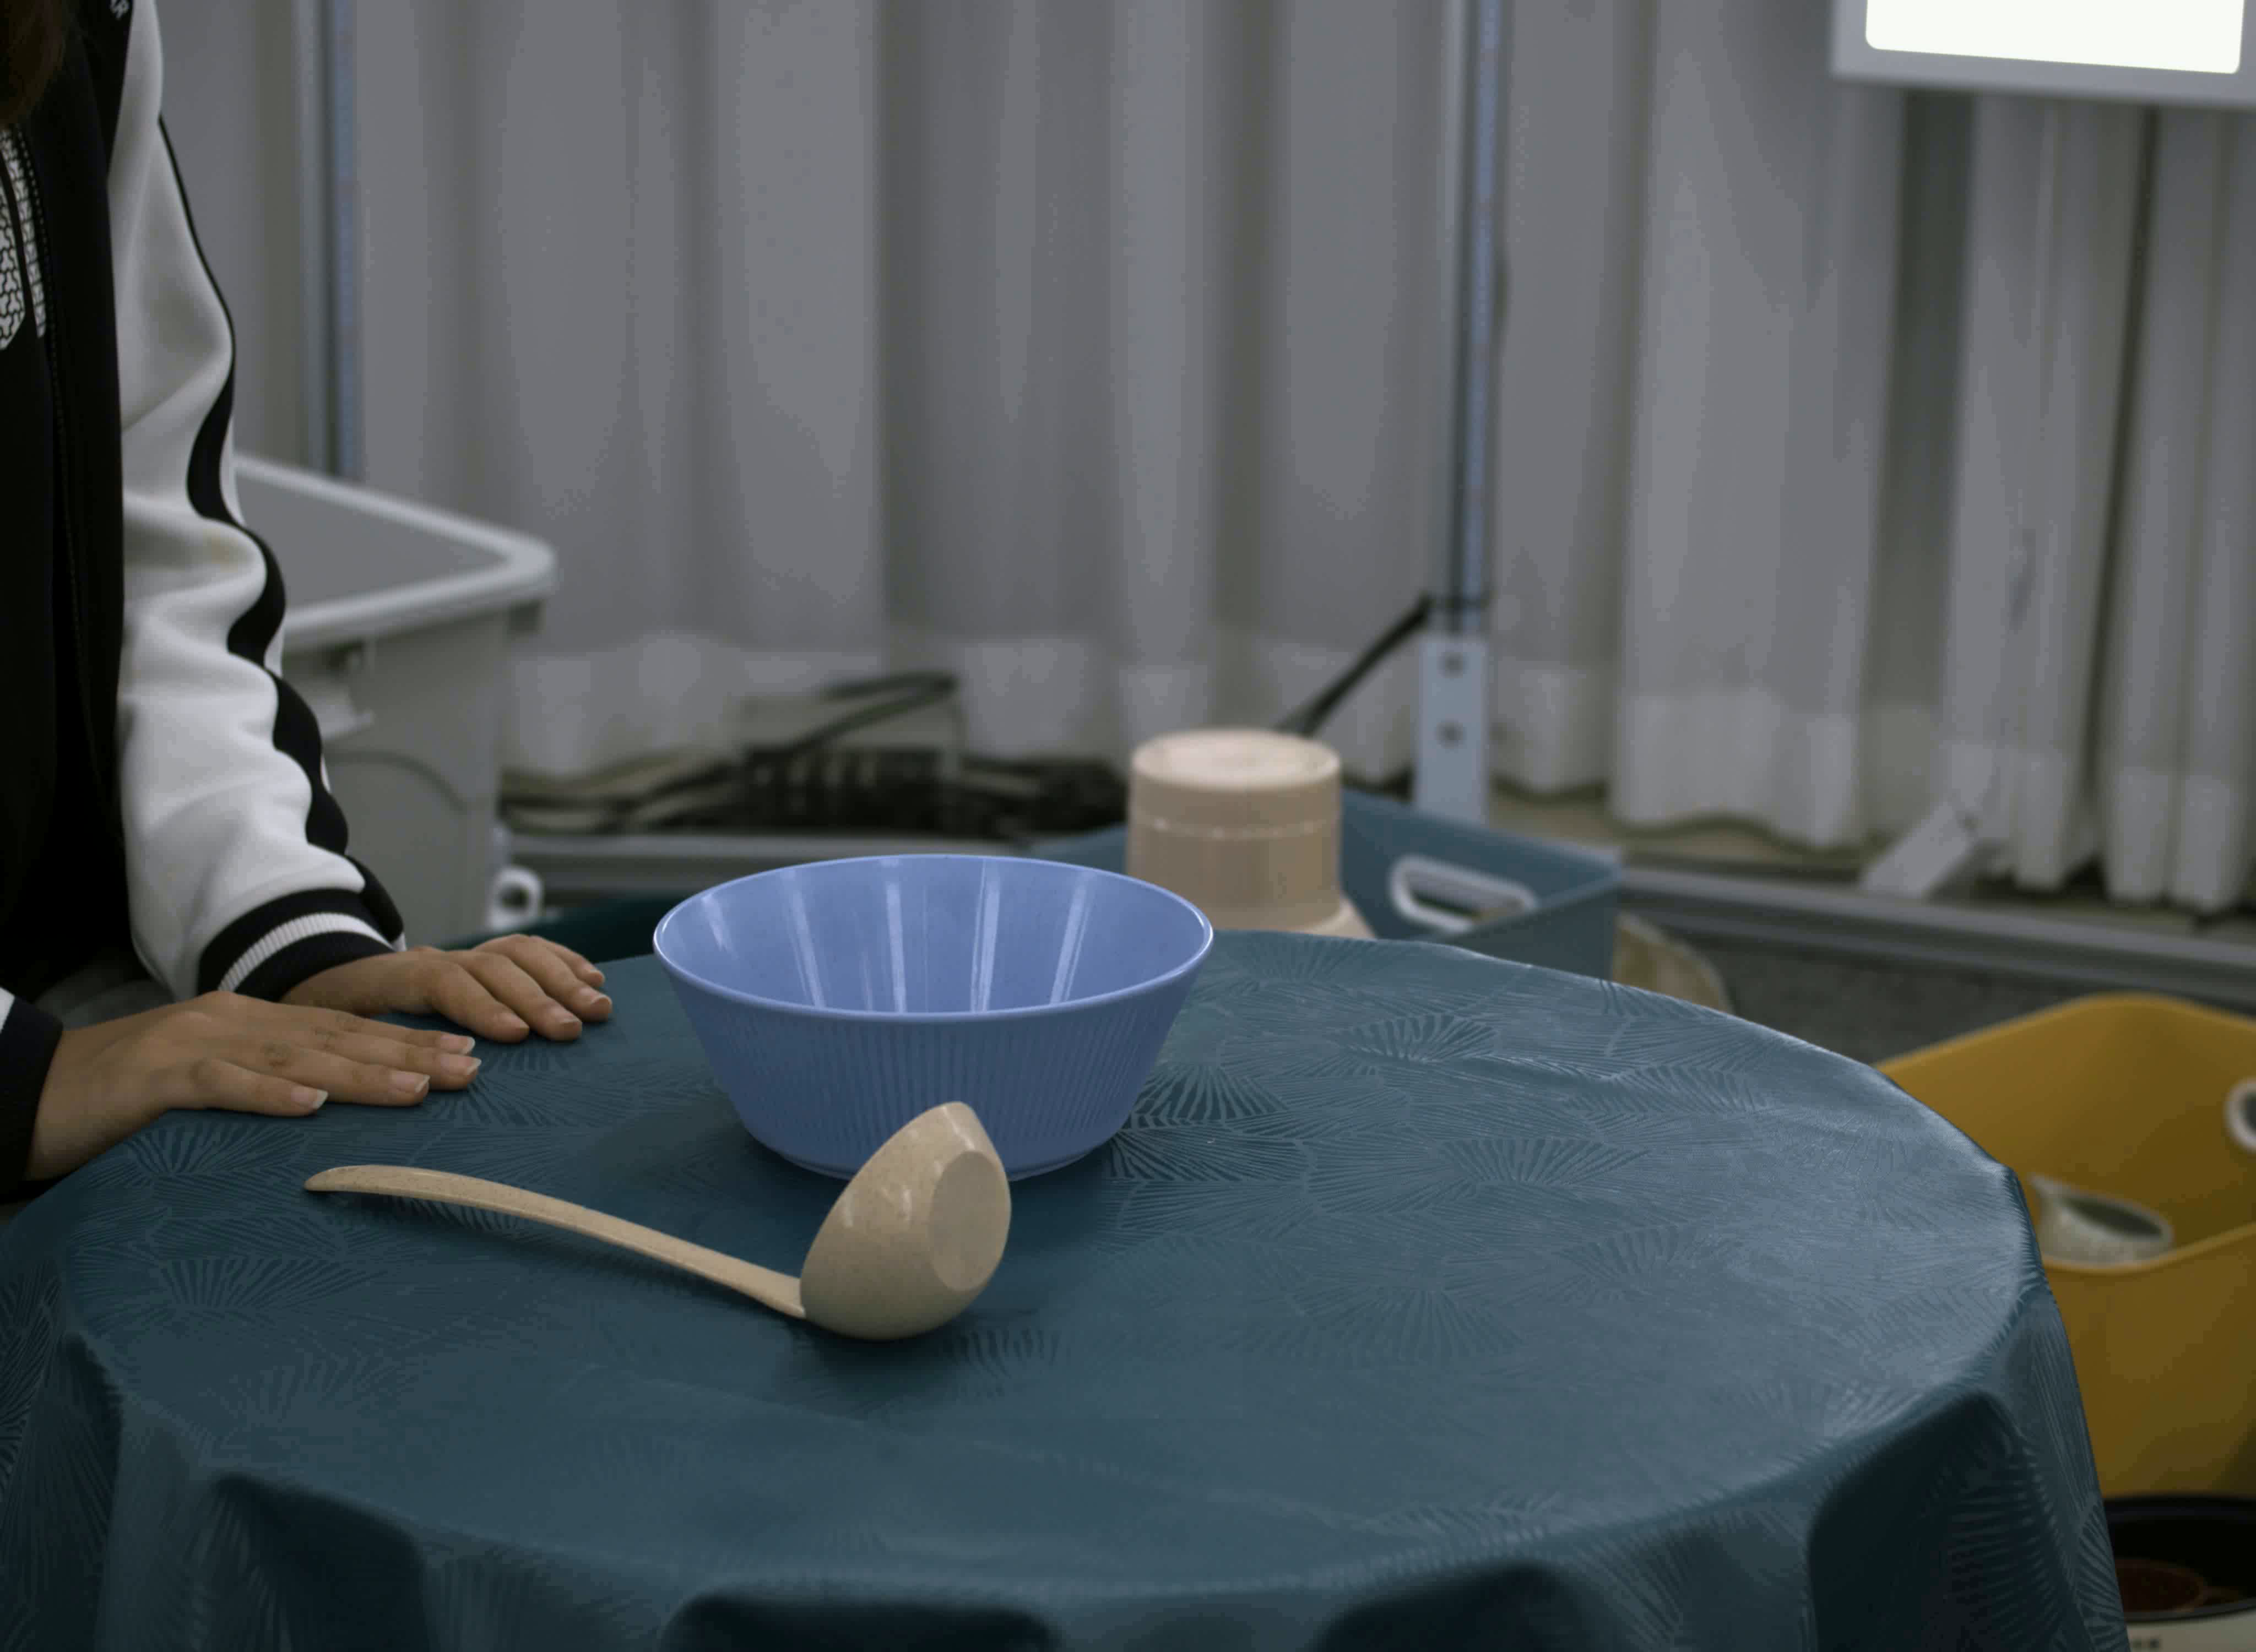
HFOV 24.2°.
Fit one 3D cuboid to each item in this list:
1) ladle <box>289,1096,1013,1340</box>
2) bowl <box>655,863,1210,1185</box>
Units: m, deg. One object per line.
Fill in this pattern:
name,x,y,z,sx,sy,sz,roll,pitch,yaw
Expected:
ladle,-0.148,0.096,1.540,0.251,0.073,0.072,10,17,31
bowl,-0.062,0.065,1.661,0.175,0.071,0.175,2,15,0
